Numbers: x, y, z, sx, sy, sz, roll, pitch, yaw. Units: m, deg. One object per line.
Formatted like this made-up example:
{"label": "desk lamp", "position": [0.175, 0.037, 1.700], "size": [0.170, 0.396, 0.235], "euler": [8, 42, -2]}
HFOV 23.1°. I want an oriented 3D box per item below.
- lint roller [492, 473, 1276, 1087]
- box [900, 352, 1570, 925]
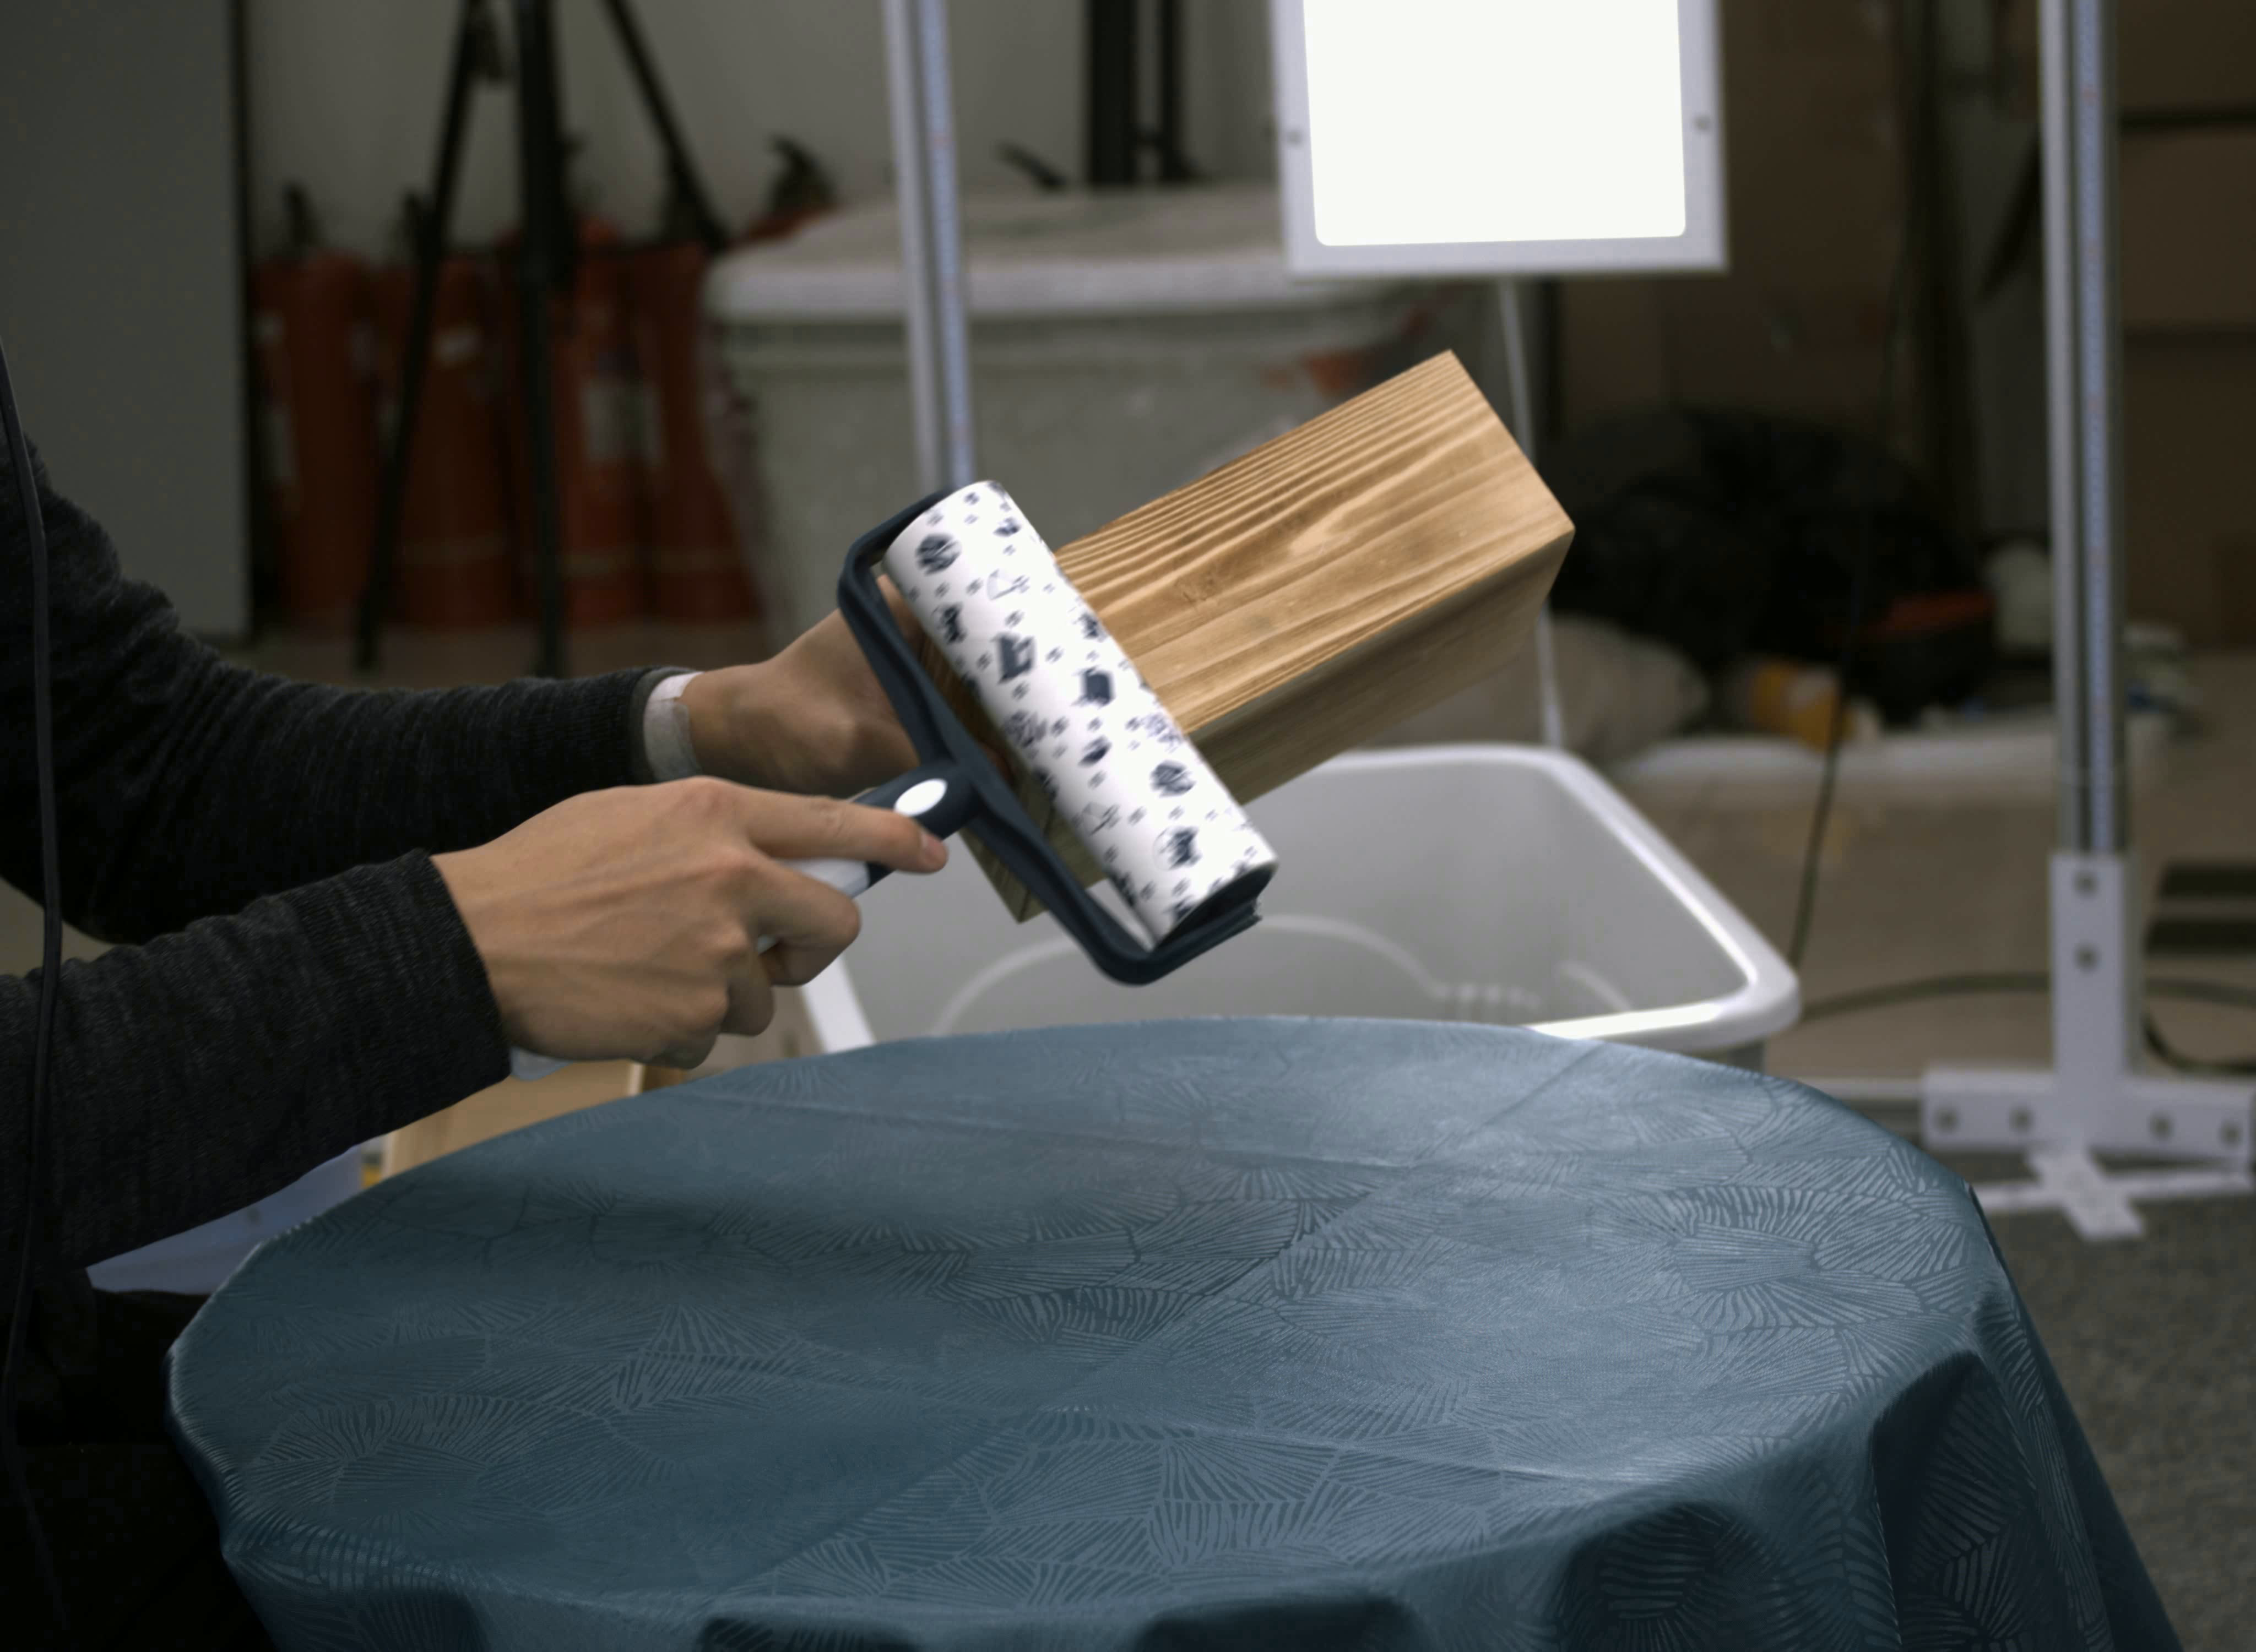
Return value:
{"label": "lint roller", "position": [-0.094, 0.011, 1.748], "size": [0.243, 0.177, 0.051], "euler": [-32, -16, -20]}
{"label": "box", "position": [0.035, -0.063, 1.880], "size": [0.208, 0.081, 0.108], "euler": [-28, -18, -17]}
